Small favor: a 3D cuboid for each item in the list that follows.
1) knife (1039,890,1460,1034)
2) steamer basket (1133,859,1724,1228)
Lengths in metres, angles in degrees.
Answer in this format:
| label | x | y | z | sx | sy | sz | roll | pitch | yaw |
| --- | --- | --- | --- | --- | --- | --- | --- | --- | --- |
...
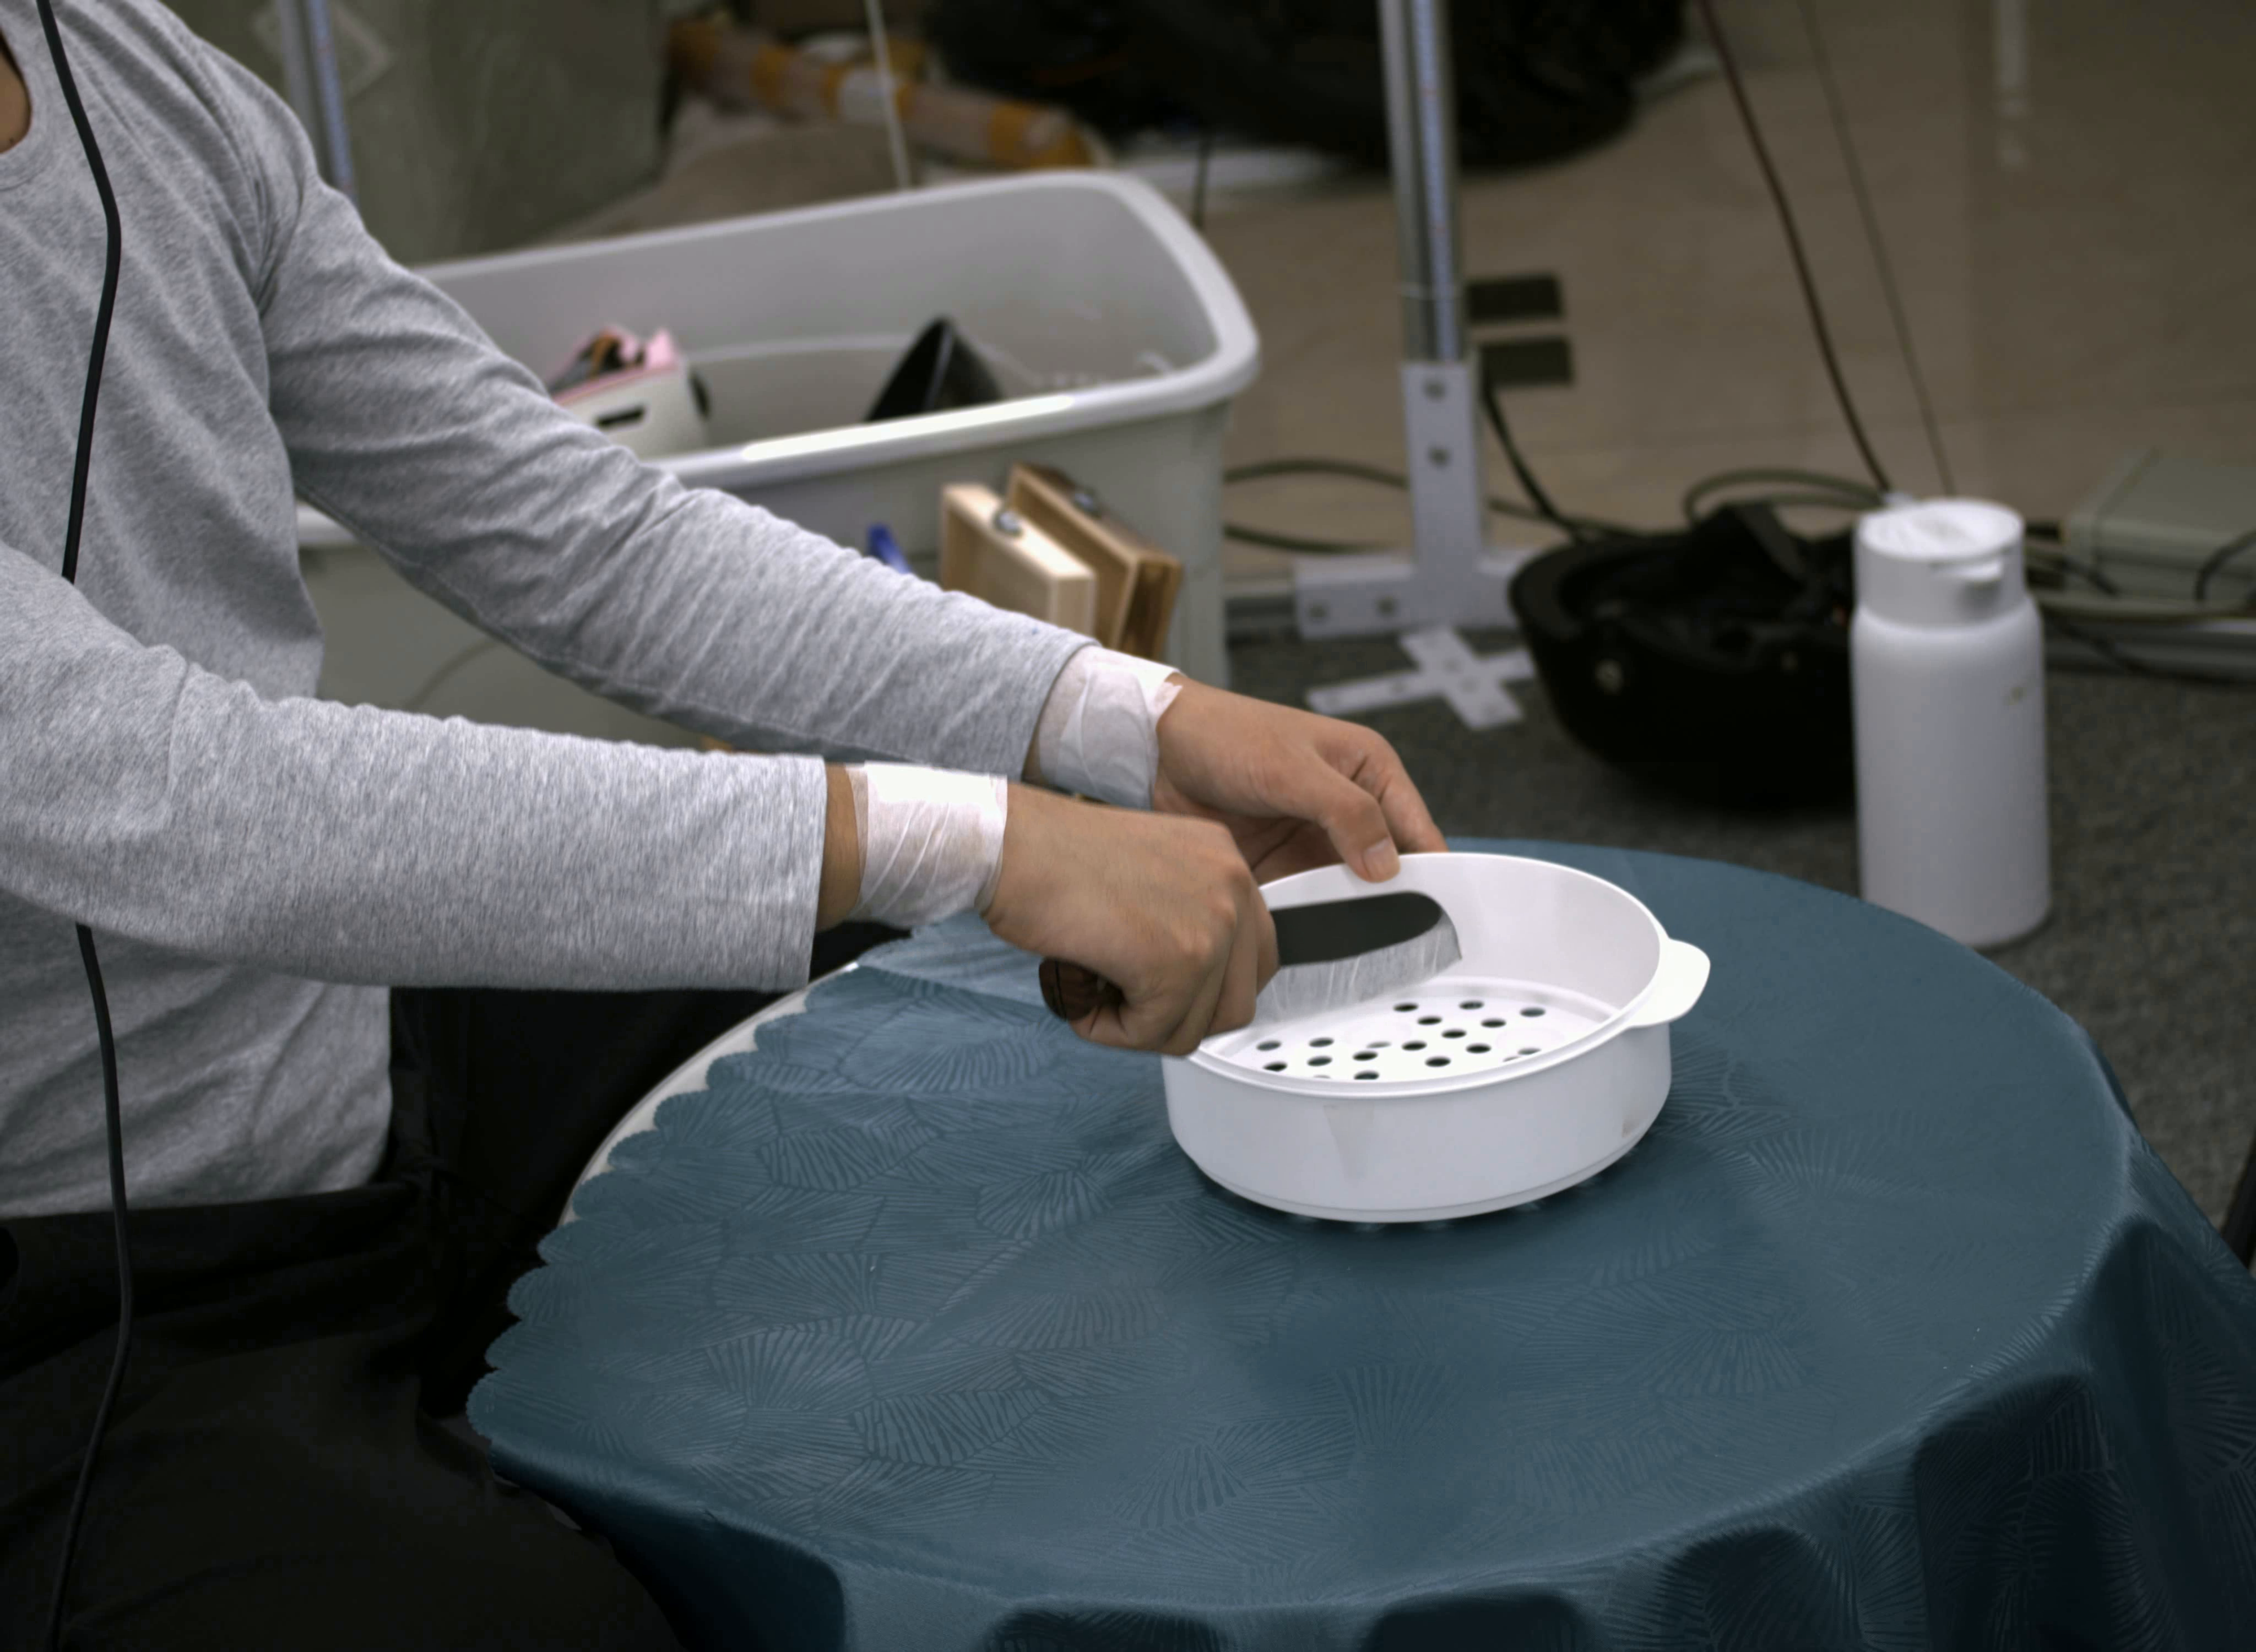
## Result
| label | x | y | z | sx | sy | sz | roll | pitch | yaw |
| --- | --- | --- | --- | --- | --- | --- | --- | --- | --- |
| knife | 0.052 | 0.051 | 2.076 | 0.020 | 0.050 | 0.289 | 15 | 9 | 31 |
| steamer basket | 0.114 | 0.082 | 2.165 | 0.230 | 0.070 | 0.199 | 1 | 25 | 18 |
